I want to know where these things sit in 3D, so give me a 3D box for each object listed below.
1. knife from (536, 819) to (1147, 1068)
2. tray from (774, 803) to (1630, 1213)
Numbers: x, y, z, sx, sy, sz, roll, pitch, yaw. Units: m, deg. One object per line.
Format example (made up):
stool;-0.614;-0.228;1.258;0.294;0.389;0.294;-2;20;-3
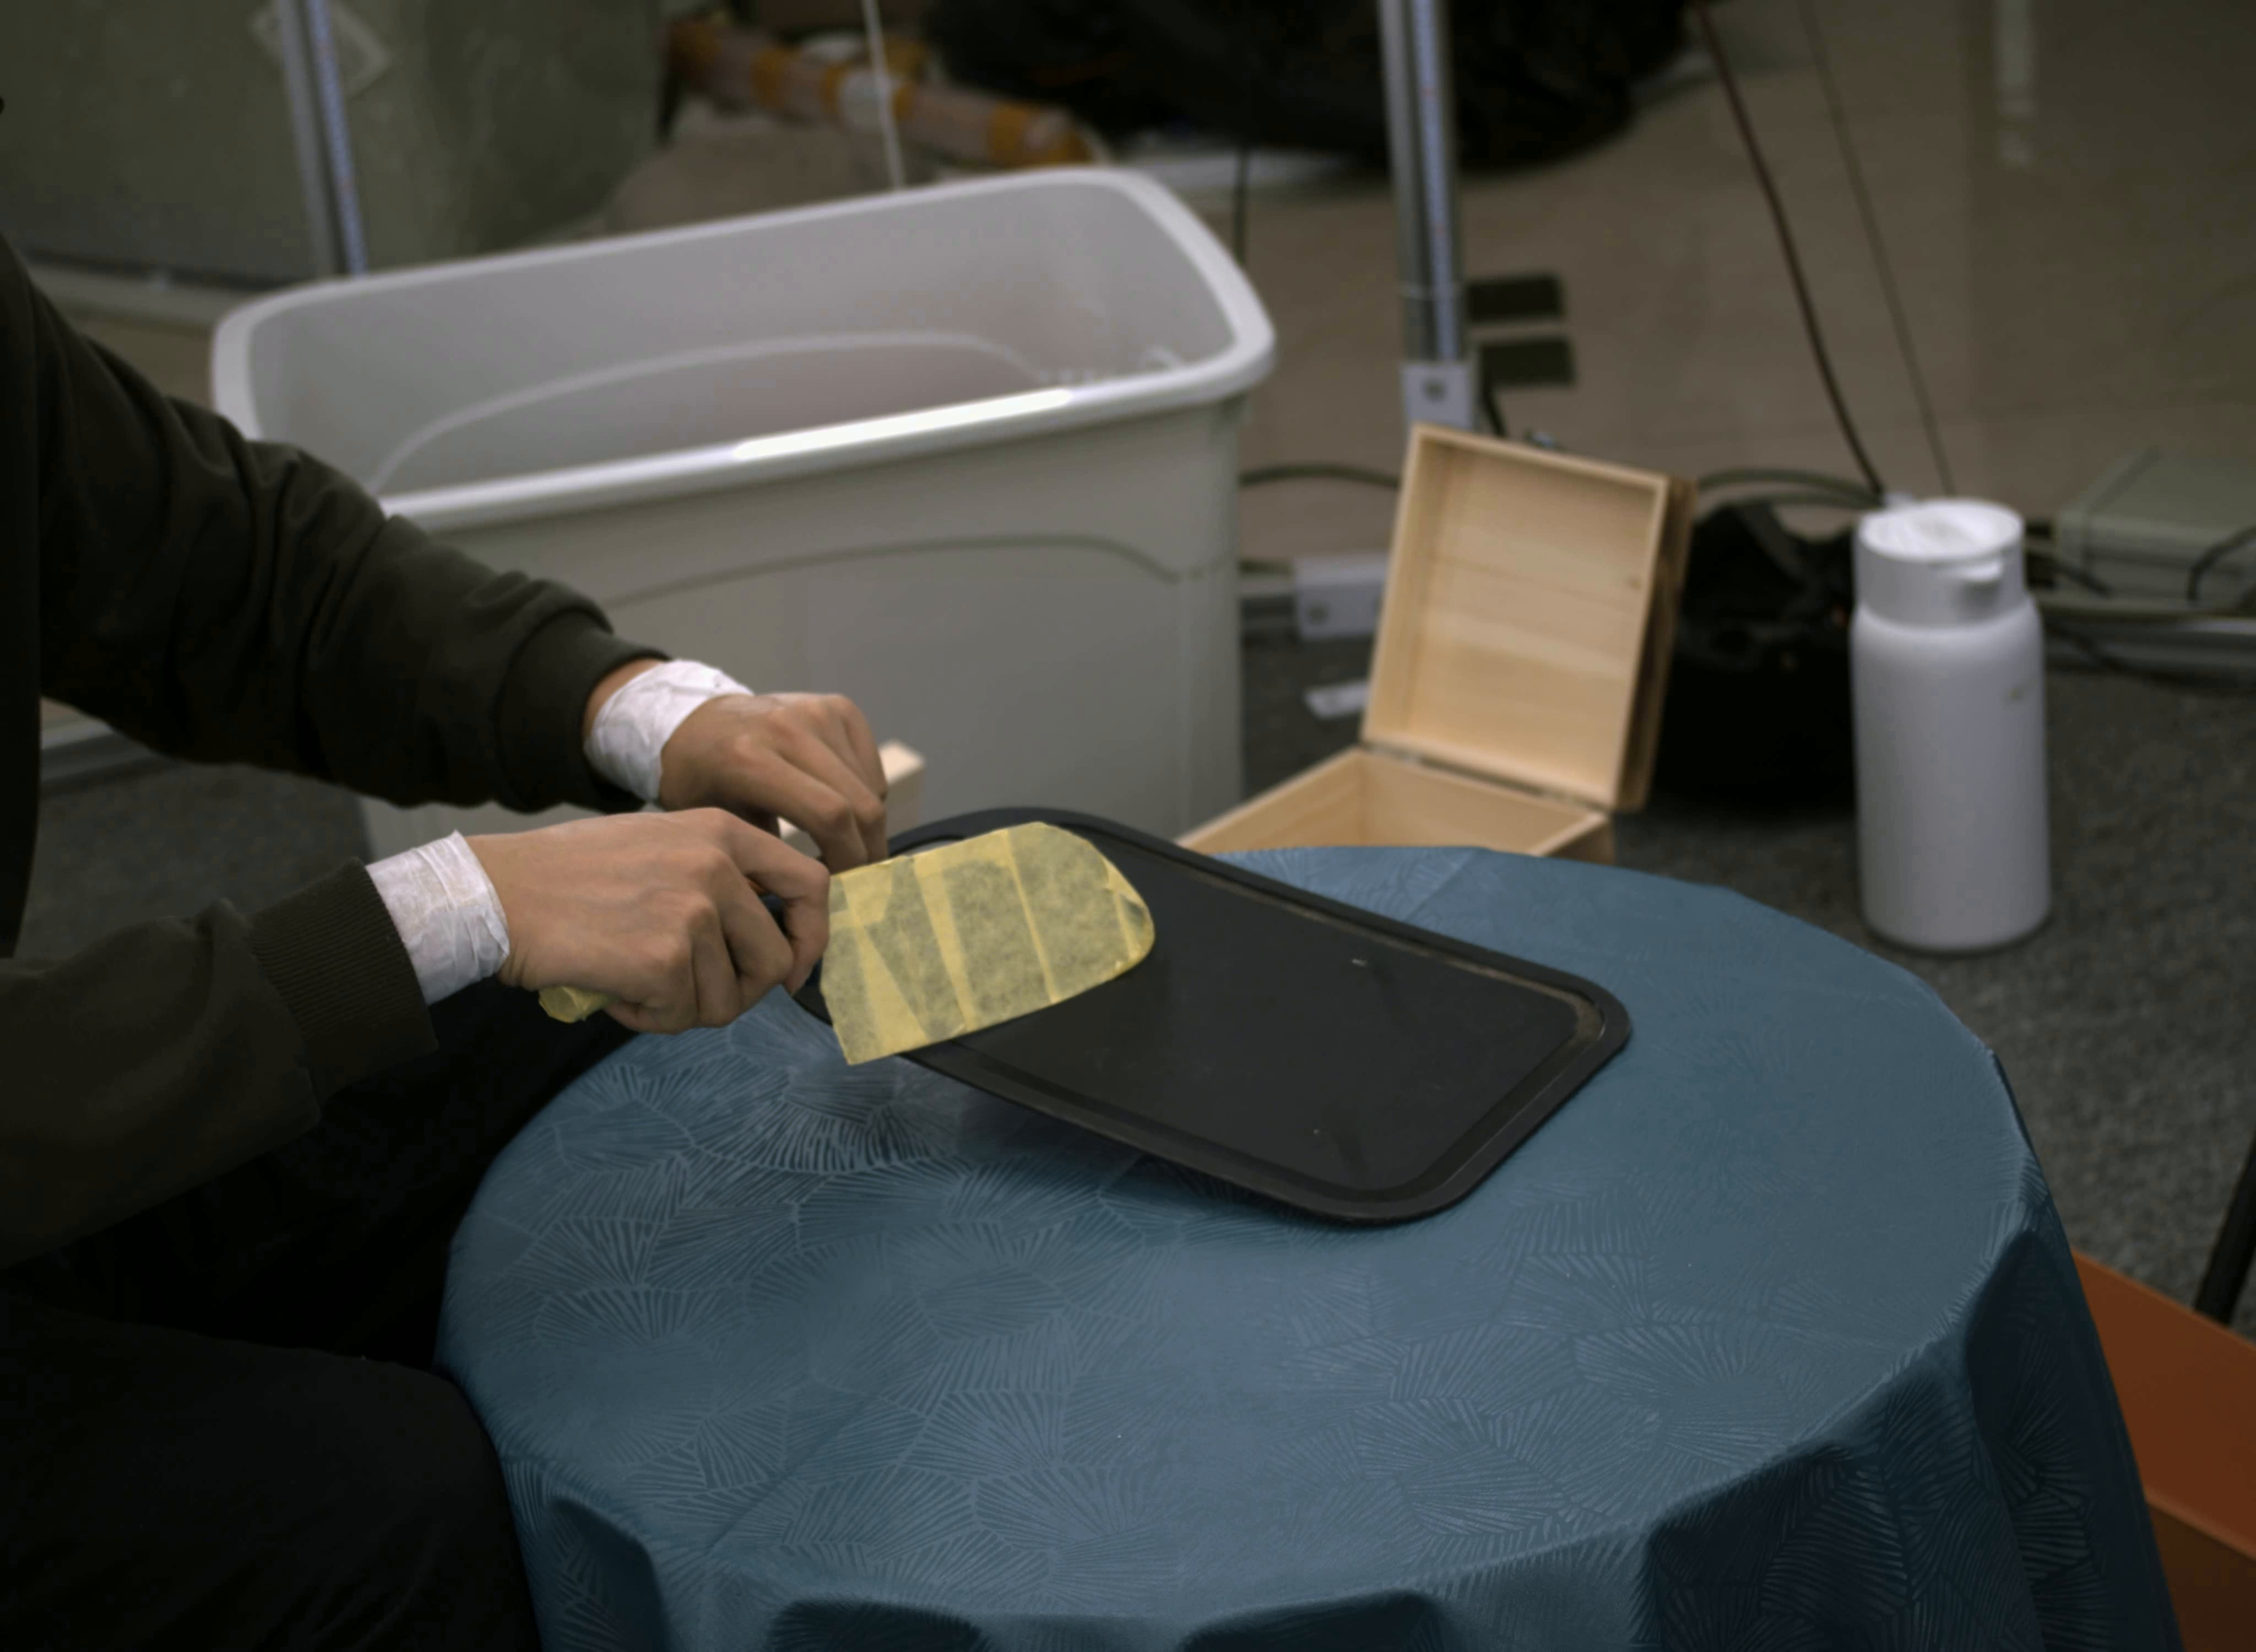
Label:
knife;-0.102;0.051;2.173;0.288;0.081;0.027;-12;-7;-39
tray;0.022;0.064;2.234;0.323;0.010;0.209;20;33;25
